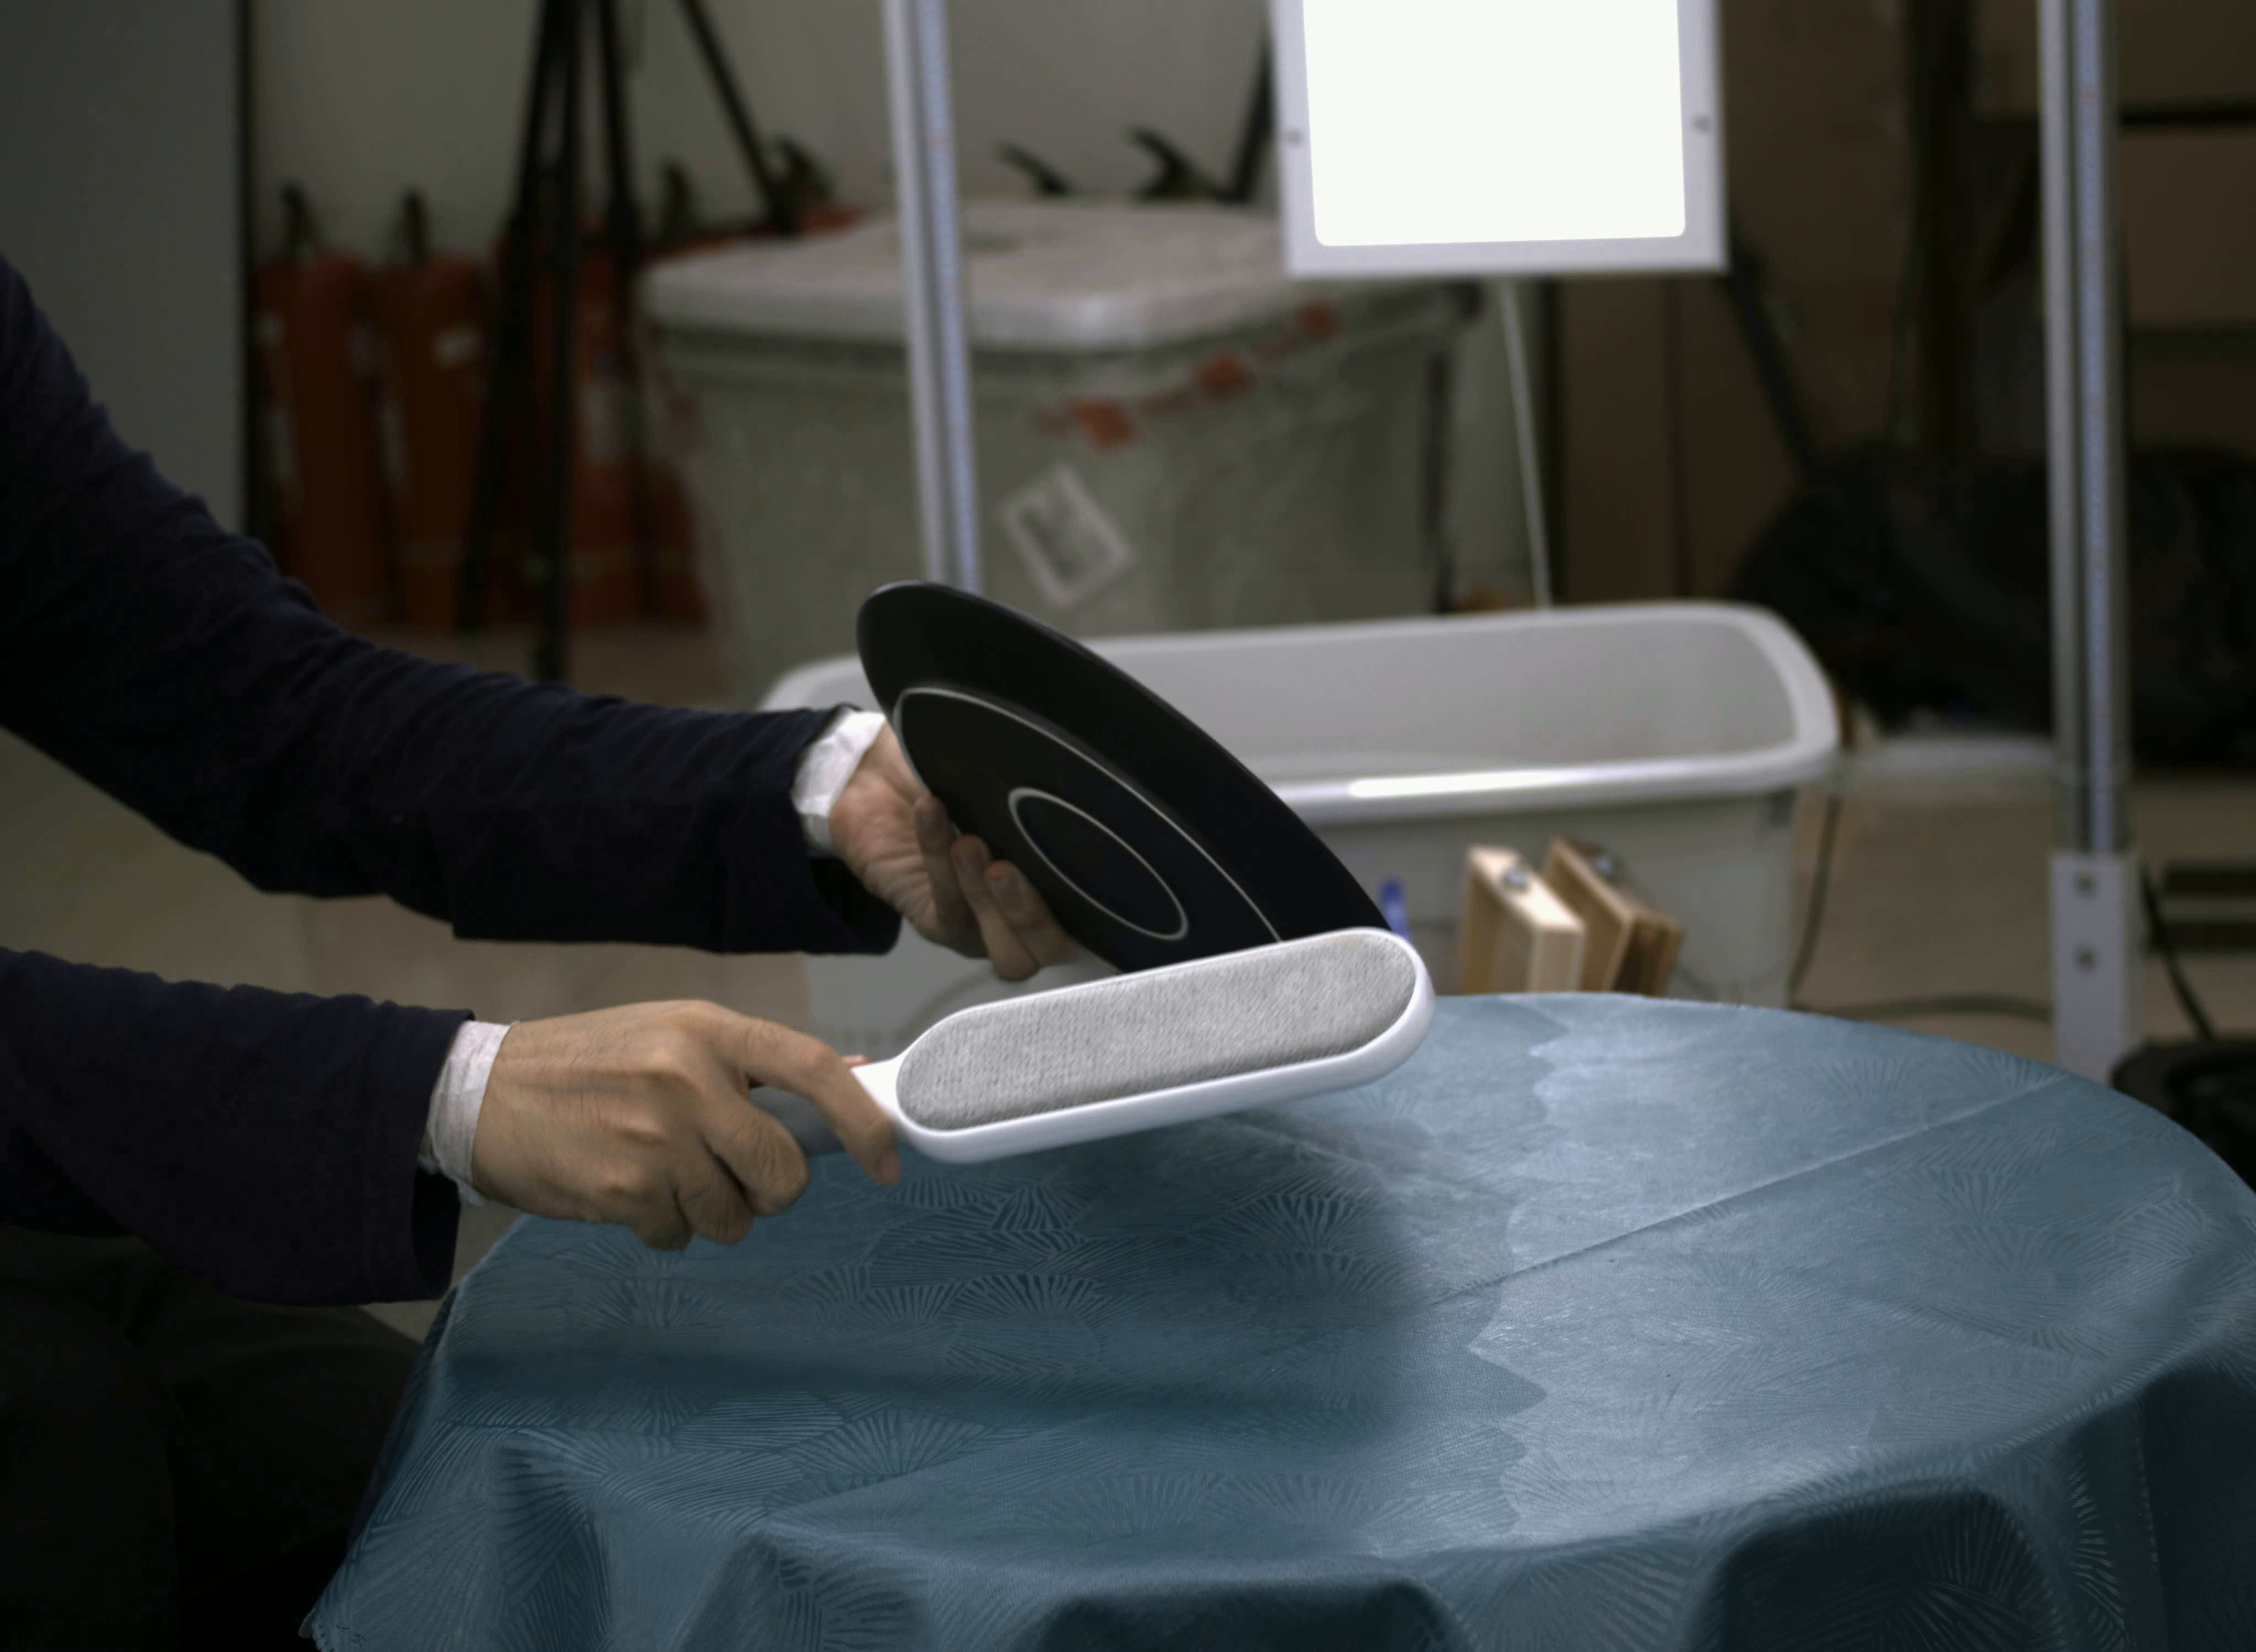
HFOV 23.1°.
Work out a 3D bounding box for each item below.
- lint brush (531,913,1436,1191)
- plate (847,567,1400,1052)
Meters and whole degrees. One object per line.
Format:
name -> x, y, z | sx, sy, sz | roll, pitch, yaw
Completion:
lint brush -> -0.049, 0.076, 1.744 | 0.313, 0.021, 0.060 | -12, 49, 20
plate -> -0.007, 0.002, 1.904 | 0.023, 0.242, 0.249 | -50, 32, -18
